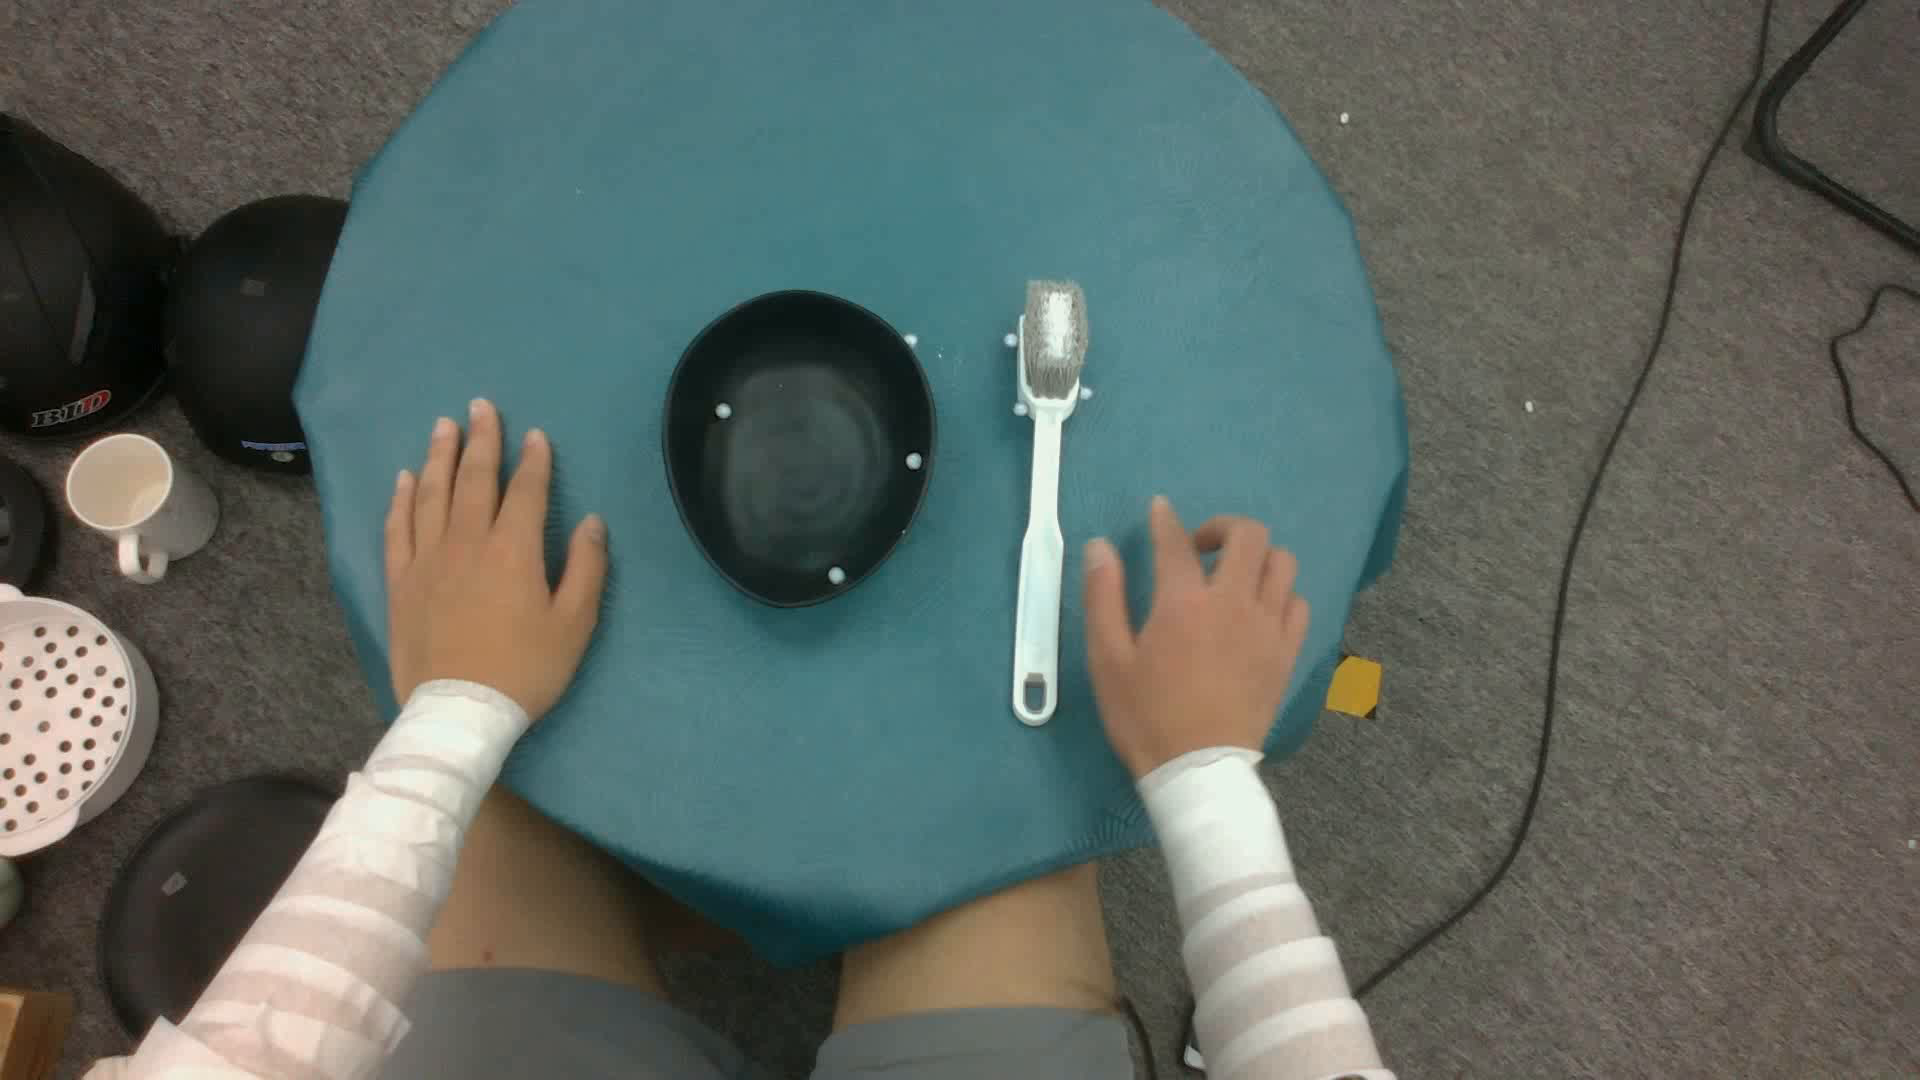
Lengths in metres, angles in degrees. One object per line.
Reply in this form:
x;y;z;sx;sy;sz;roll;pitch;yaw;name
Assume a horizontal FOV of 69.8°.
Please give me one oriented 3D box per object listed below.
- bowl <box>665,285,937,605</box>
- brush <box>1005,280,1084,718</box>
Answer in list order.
-0.083;-0.046;0.727;0.137;0.066;0.170;1;75;-6;bowl
0.044;-0.028;0.741;0.034;0.050;0.244;5;71;-3;brush
